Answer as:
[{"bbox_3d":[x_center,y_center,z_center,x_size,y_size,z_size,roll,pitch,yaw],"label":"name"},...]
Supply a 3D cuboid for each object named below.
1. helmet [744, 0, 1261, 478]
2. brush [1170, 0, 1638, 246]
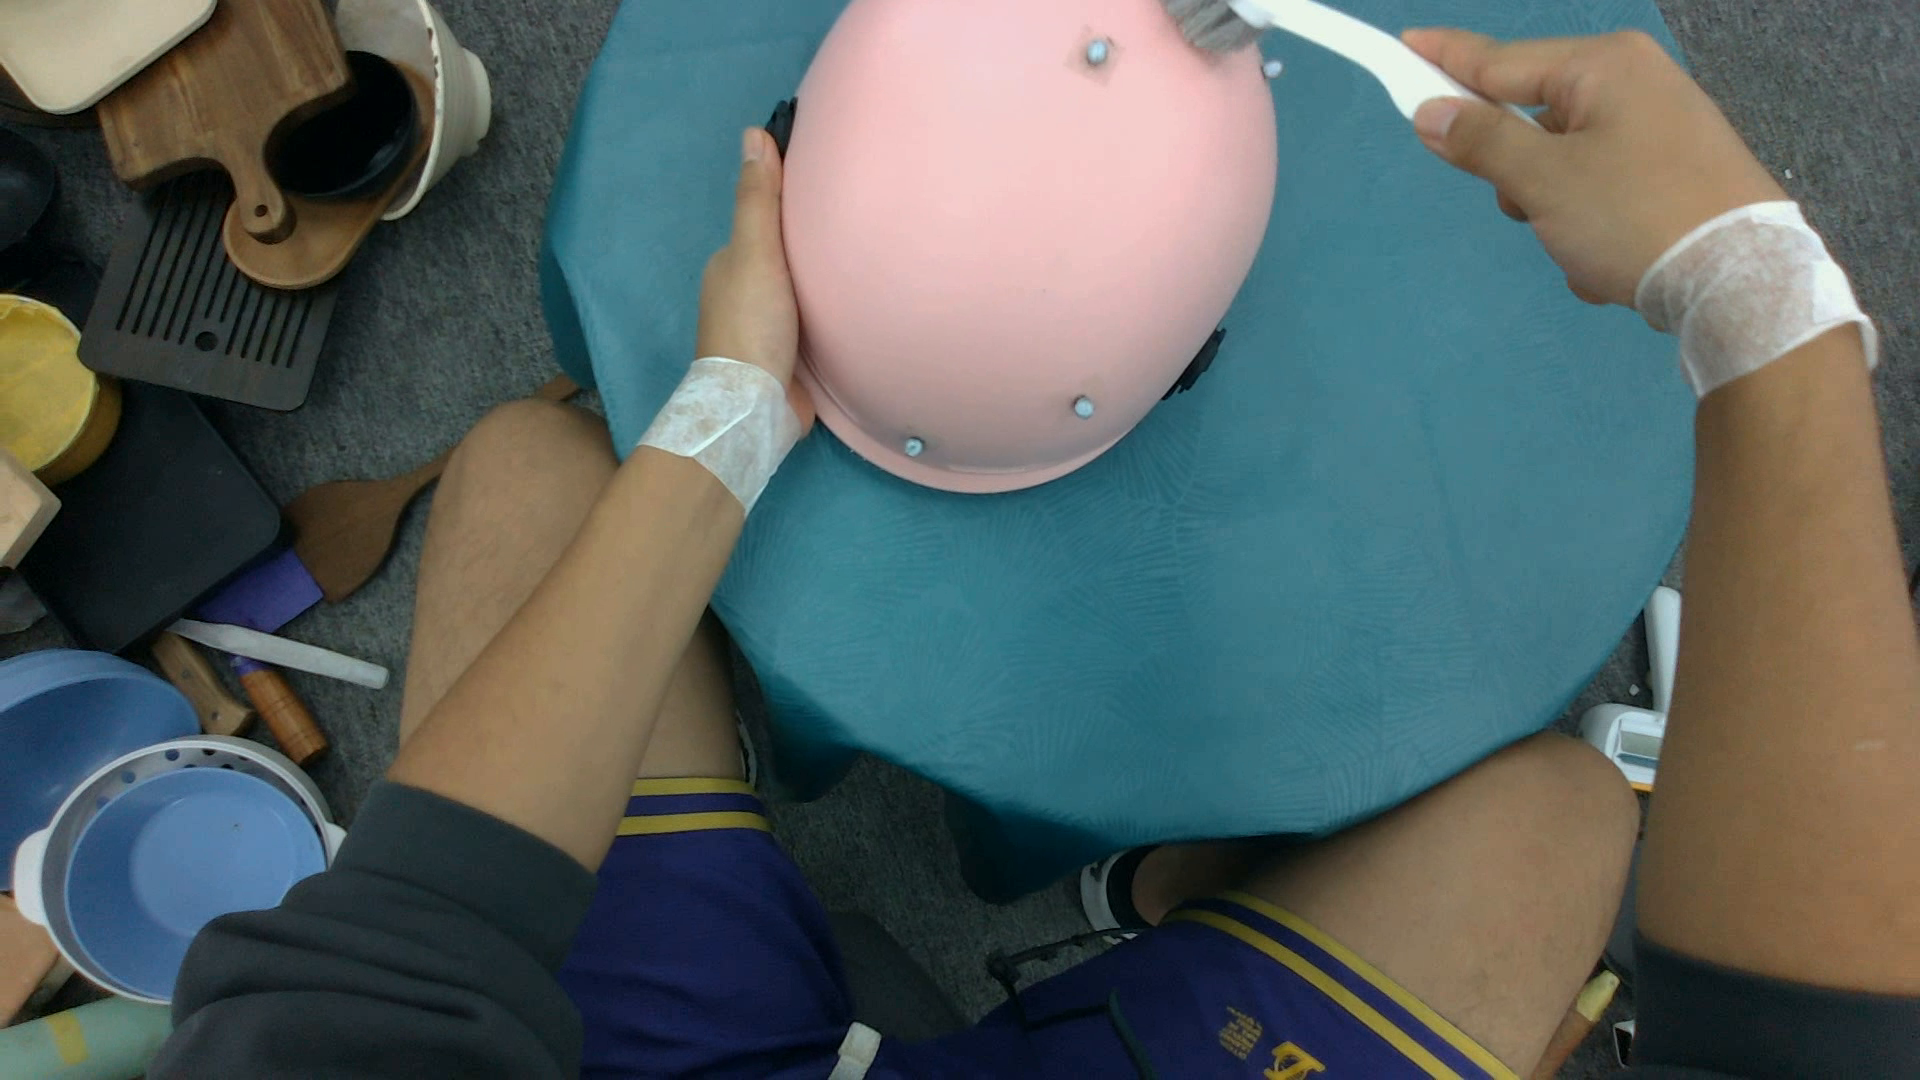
[{"bbox_3d":[0.026,-0.160,0.600,0.234,0.158,0.266,24,85,-10],"label":"helmet"},{"bbox_3d":[0.140,-0.174,0.500,0.034,0.050,0.244,-20,62,-36],"label":"brush"}]
